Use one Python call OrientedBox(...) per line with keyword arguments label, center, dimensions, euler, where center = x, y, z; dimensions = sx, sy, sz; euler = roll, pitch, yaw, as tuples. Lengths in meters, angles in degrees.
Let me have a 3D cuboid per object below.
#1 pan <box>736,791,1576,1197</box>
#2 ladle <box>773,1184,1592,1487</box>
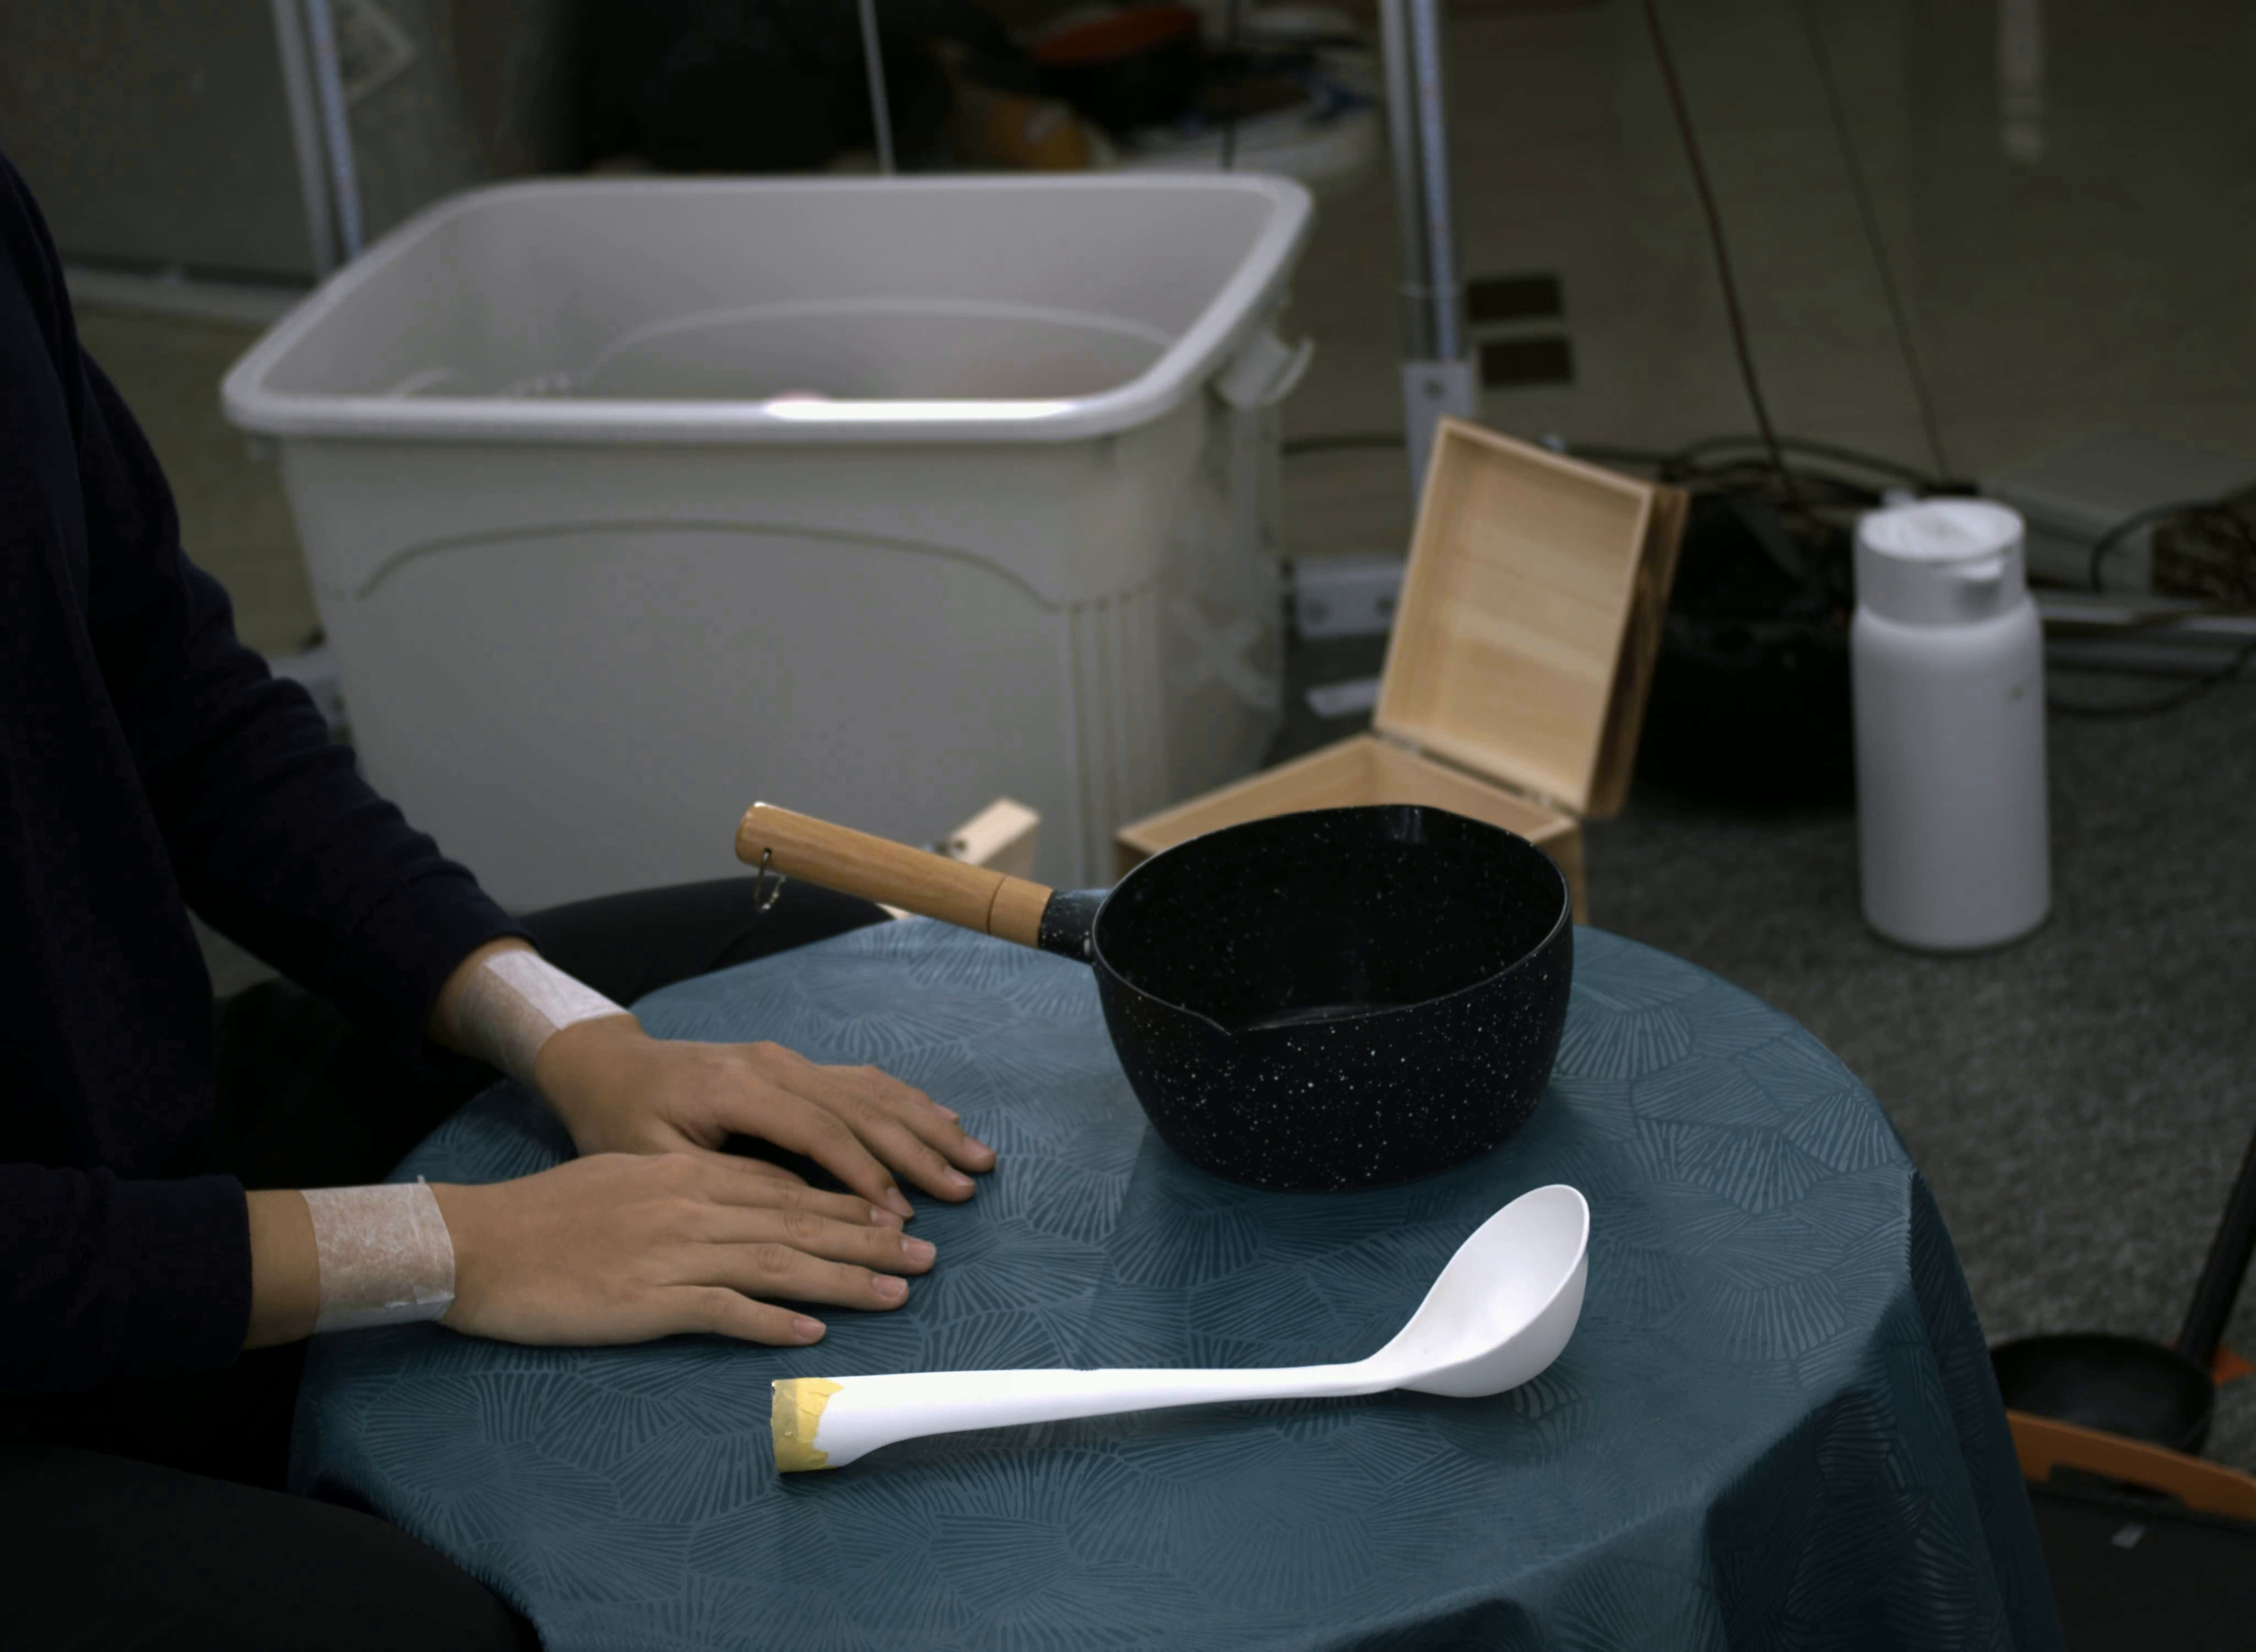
OrientedBox(label="pan", center=(0.006, 0.054, 2.199), dimensions=(0.342, 0.110, 0.204), euler=(5, 29, 20))
OrientedBox(label="ladle", center=(0.019, 0.182, 1.973), dimensions=(0.292, 0.071, 0.088), euler=(-7, 31, 1))
